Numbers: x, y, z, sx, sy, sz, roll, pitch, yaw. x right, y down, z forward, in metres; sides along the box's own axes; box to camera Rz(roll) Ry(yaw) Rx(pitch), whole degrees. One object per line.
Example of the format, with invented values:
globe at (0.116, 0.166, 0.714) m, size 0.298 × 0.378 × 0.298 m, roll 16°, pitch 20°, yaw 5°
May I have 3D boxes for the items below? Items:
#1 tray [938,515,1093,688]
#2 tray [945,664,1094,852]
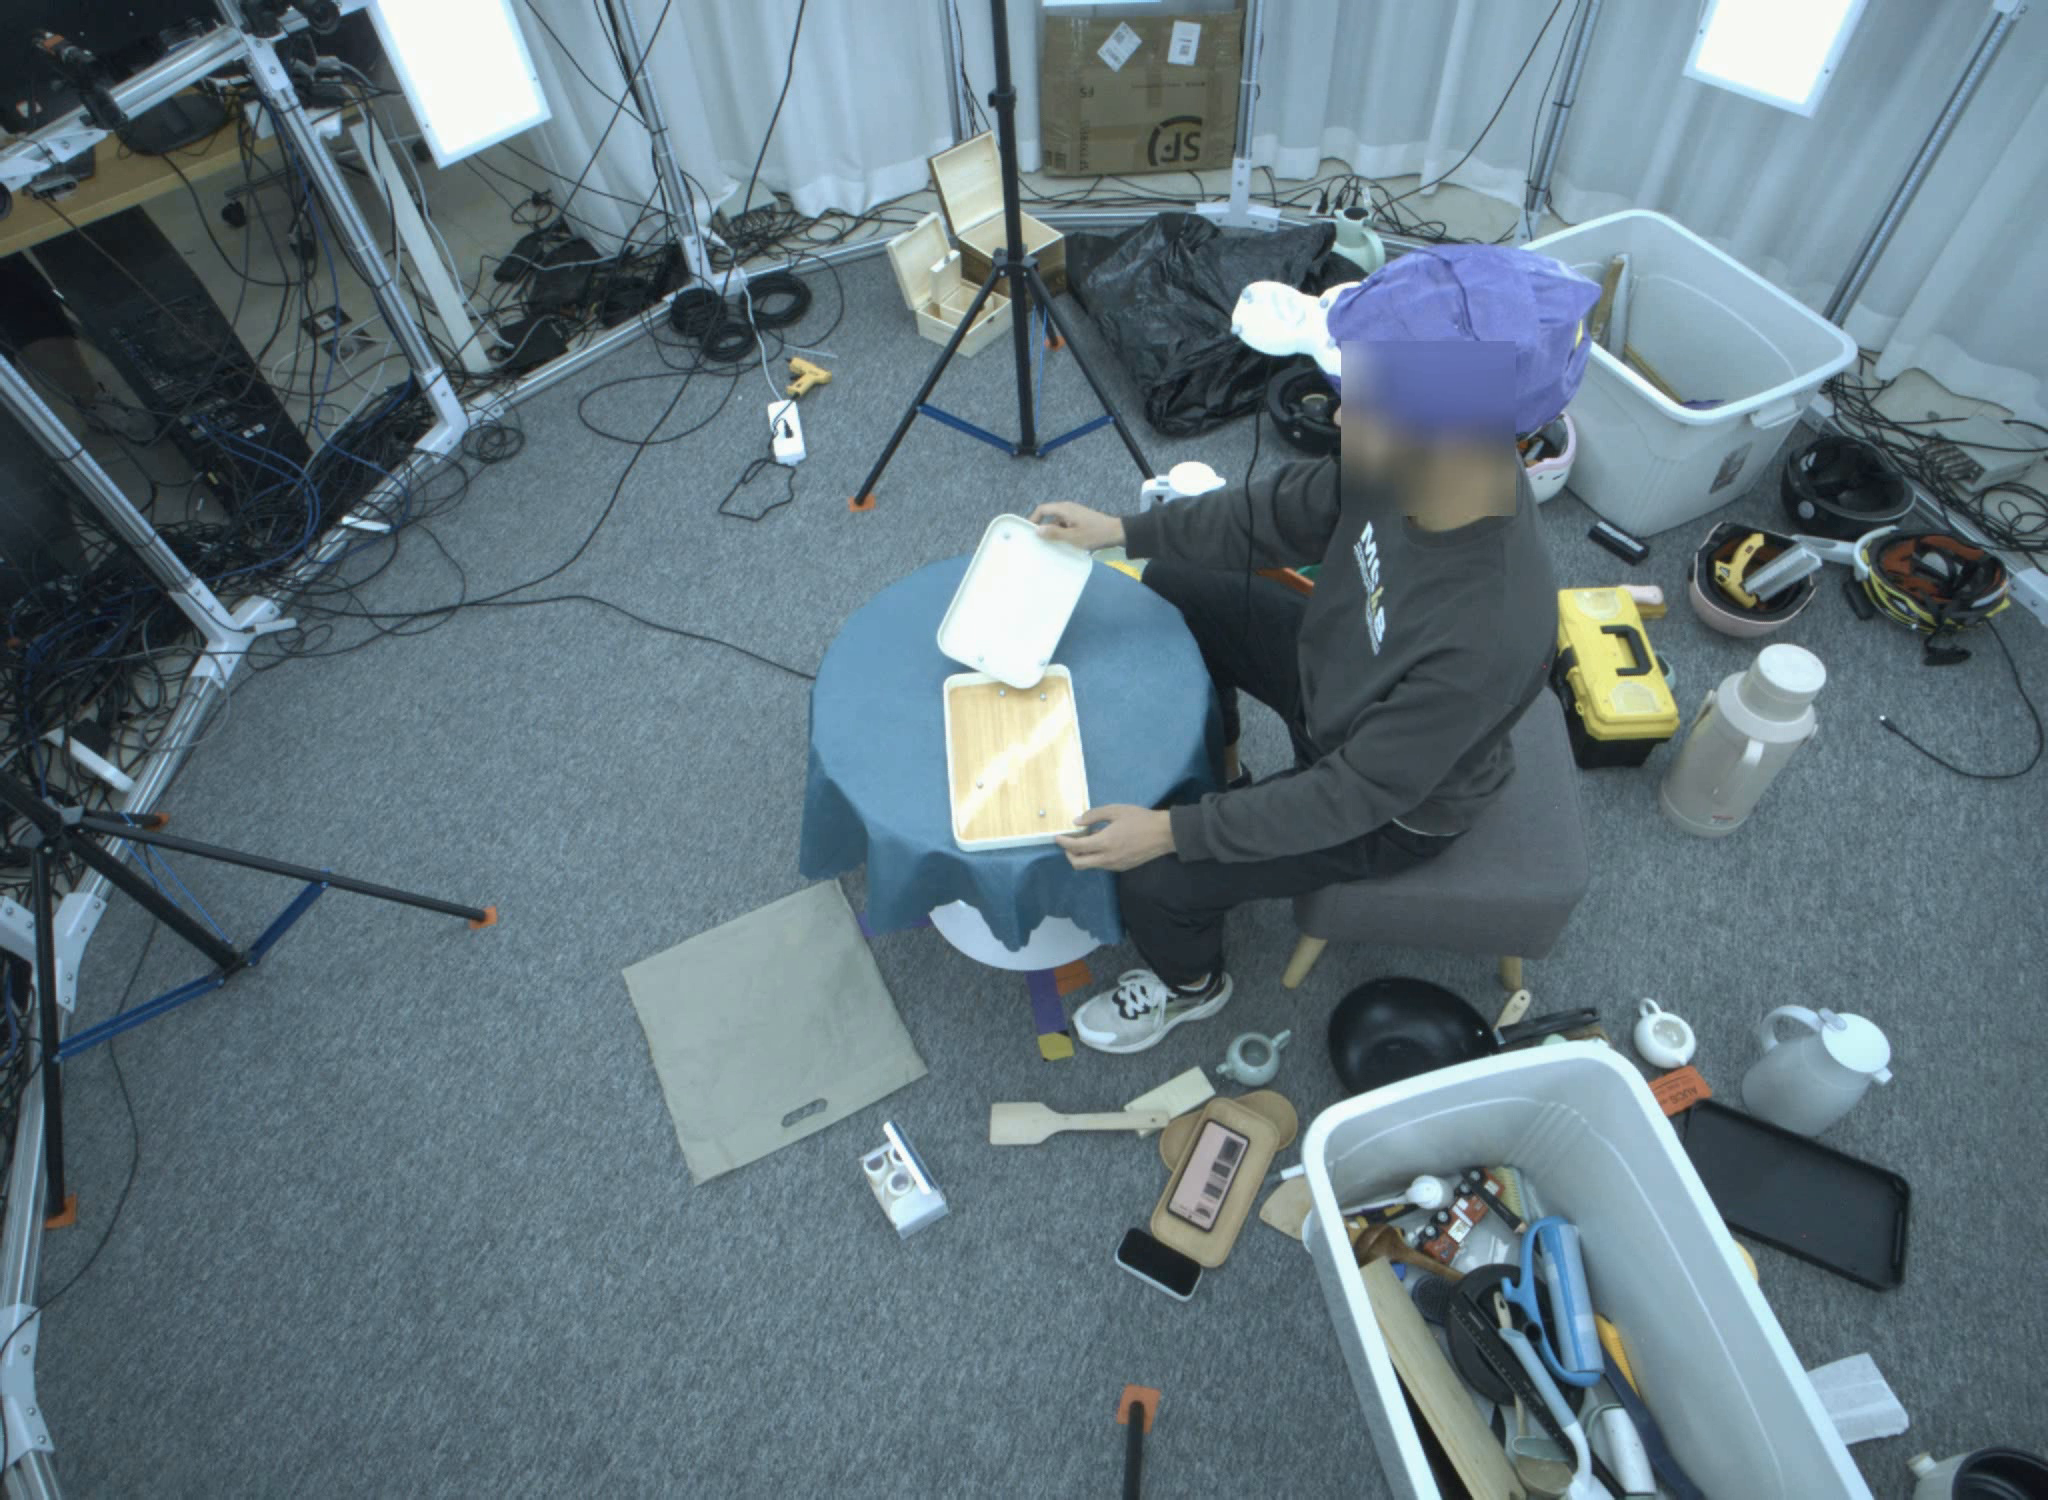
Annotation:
tray at (-0.012, -0.223, 1.841) m, size 0.171 × 0.017 × 0.239 m, roll 25°, pitch 84°, yaw 0°
tray at (-0.011, 0.006, 1.765) m, size 0.192 × 0.028 × 0.296 m, roll -5°, pitch 55°, yaw -2°
